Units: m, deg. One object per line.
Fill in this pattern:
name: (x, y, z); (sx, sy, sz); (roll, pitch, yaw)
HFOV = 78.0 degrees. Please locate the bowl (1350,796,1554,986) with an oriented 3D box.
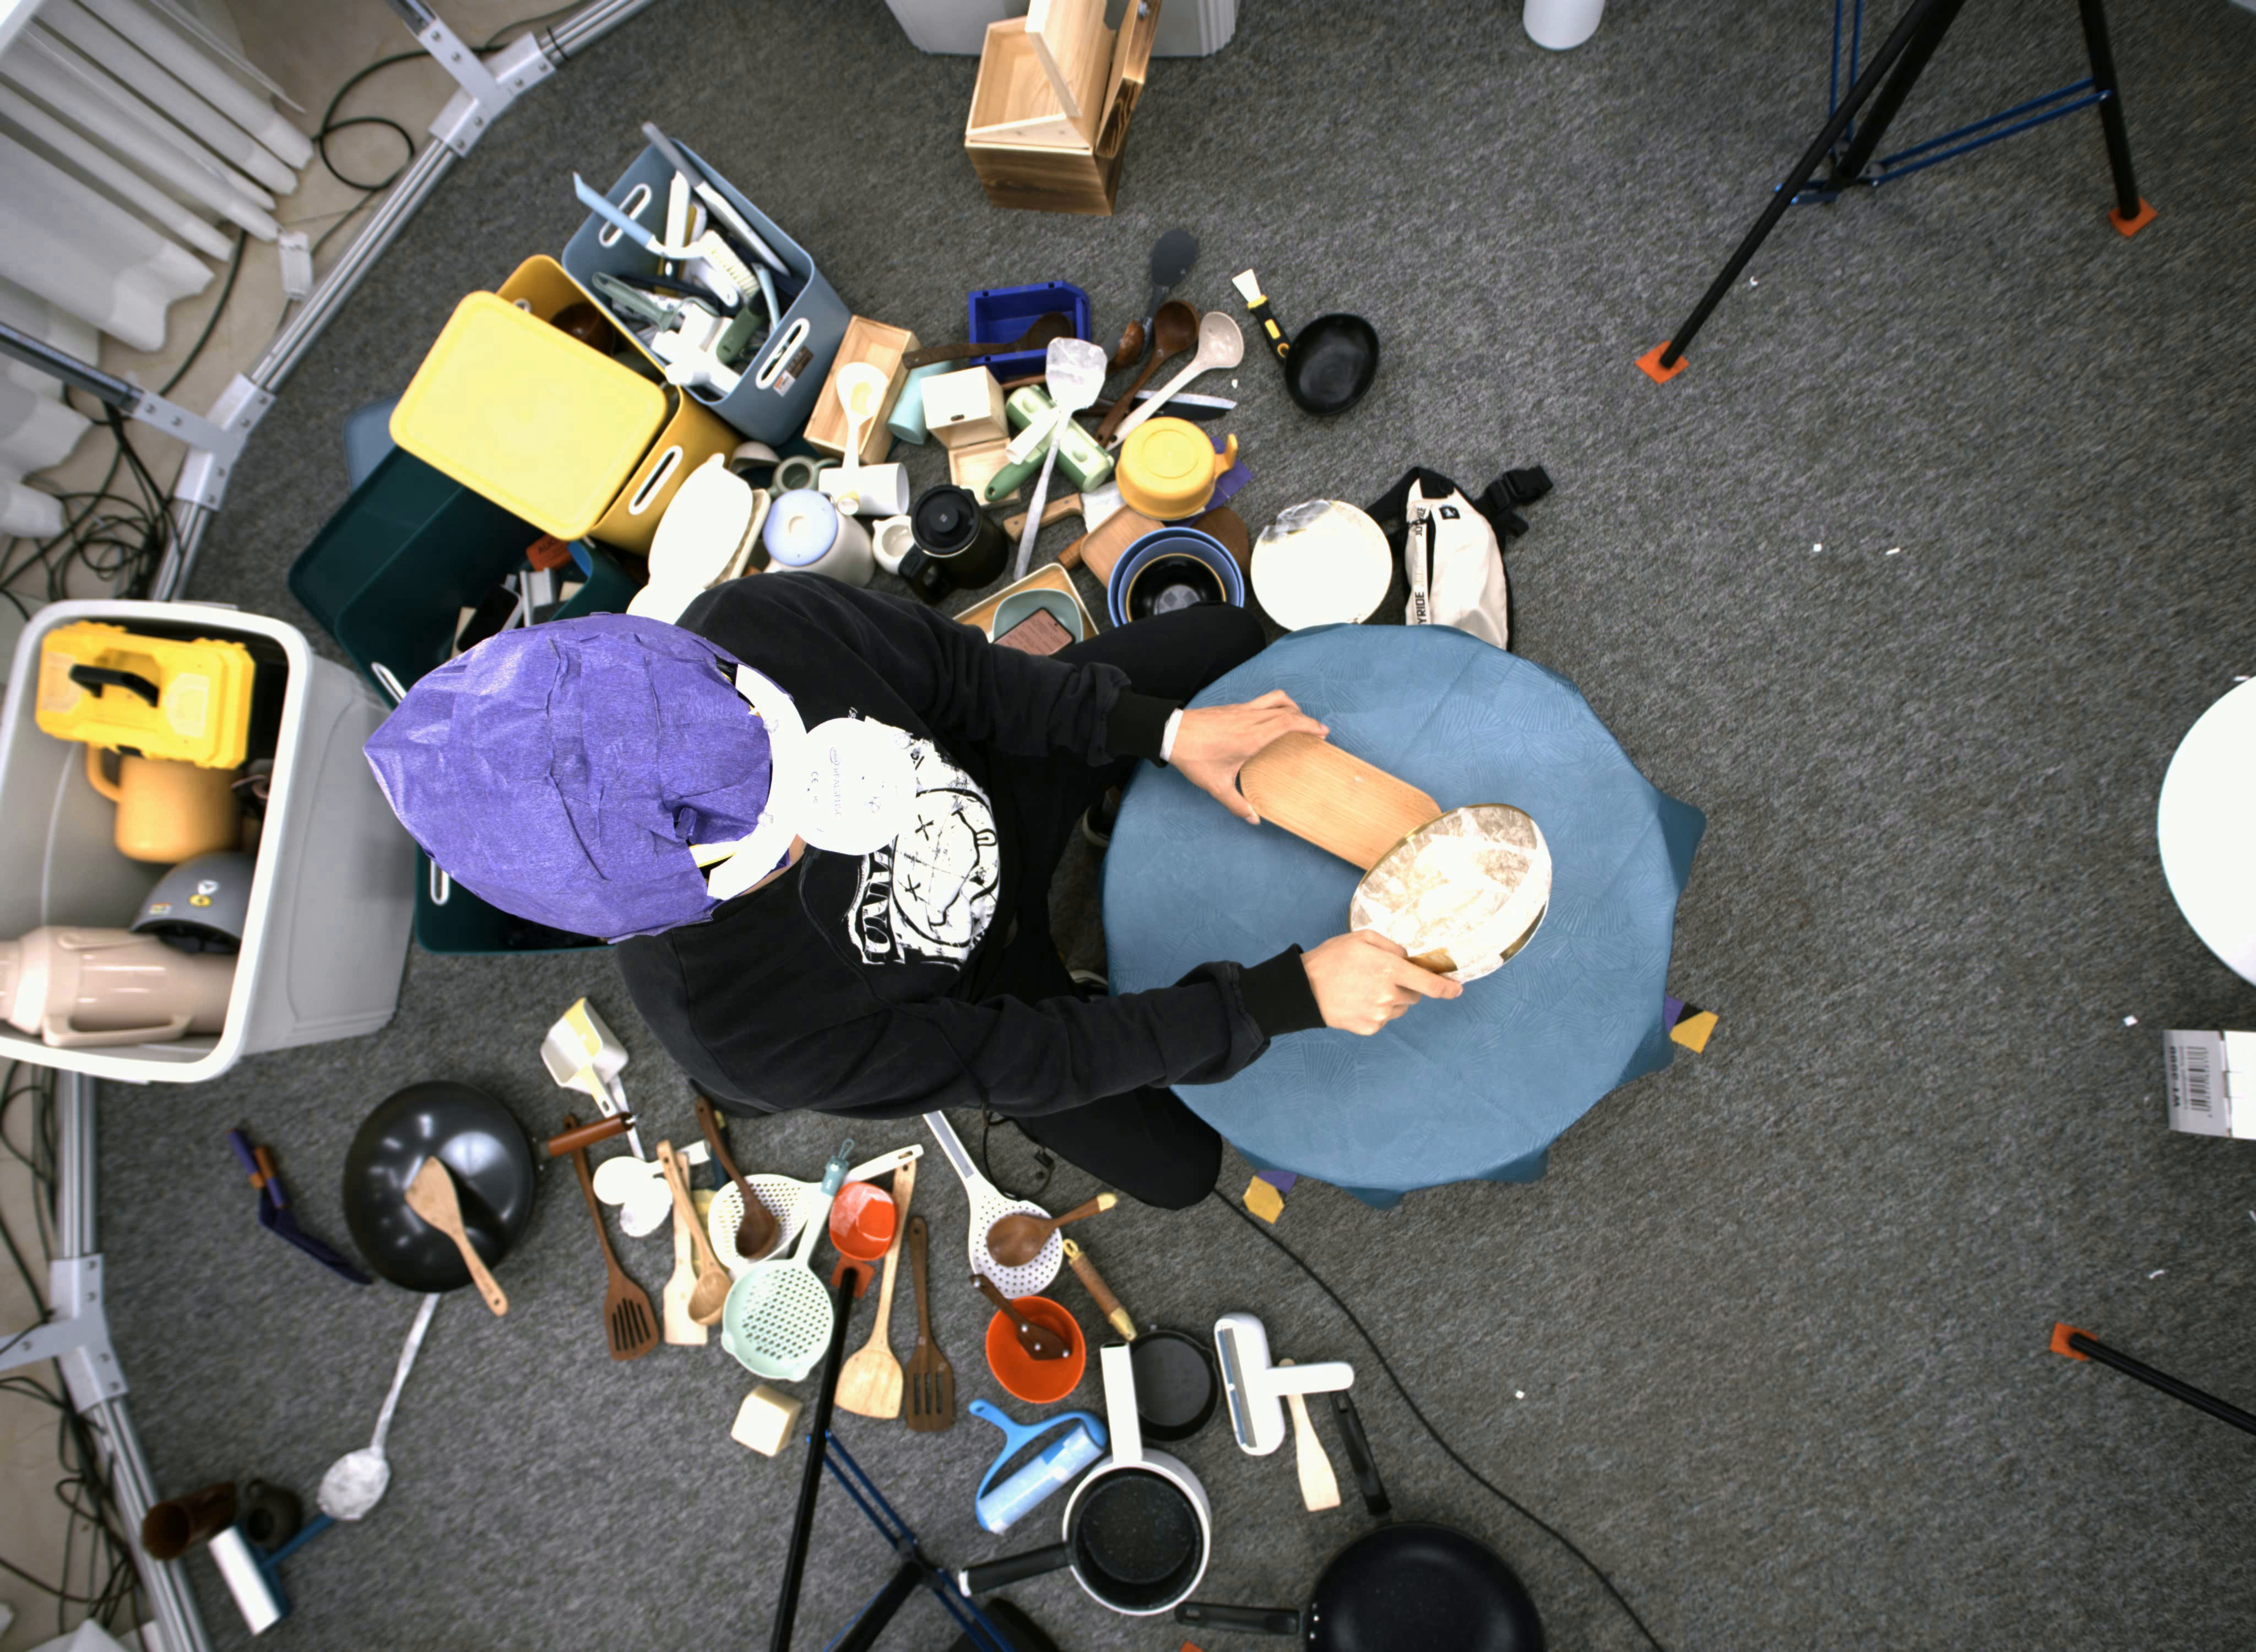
bowl: (0.318, 0.077, 1.306); (0.215, 0.211, 0.095); (-41, 114, 4)

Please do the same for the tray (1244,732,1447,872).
tray: (0.230, -0.020, 1.445); (0.231, 0.020, 0.102); (26, 92, -5)
